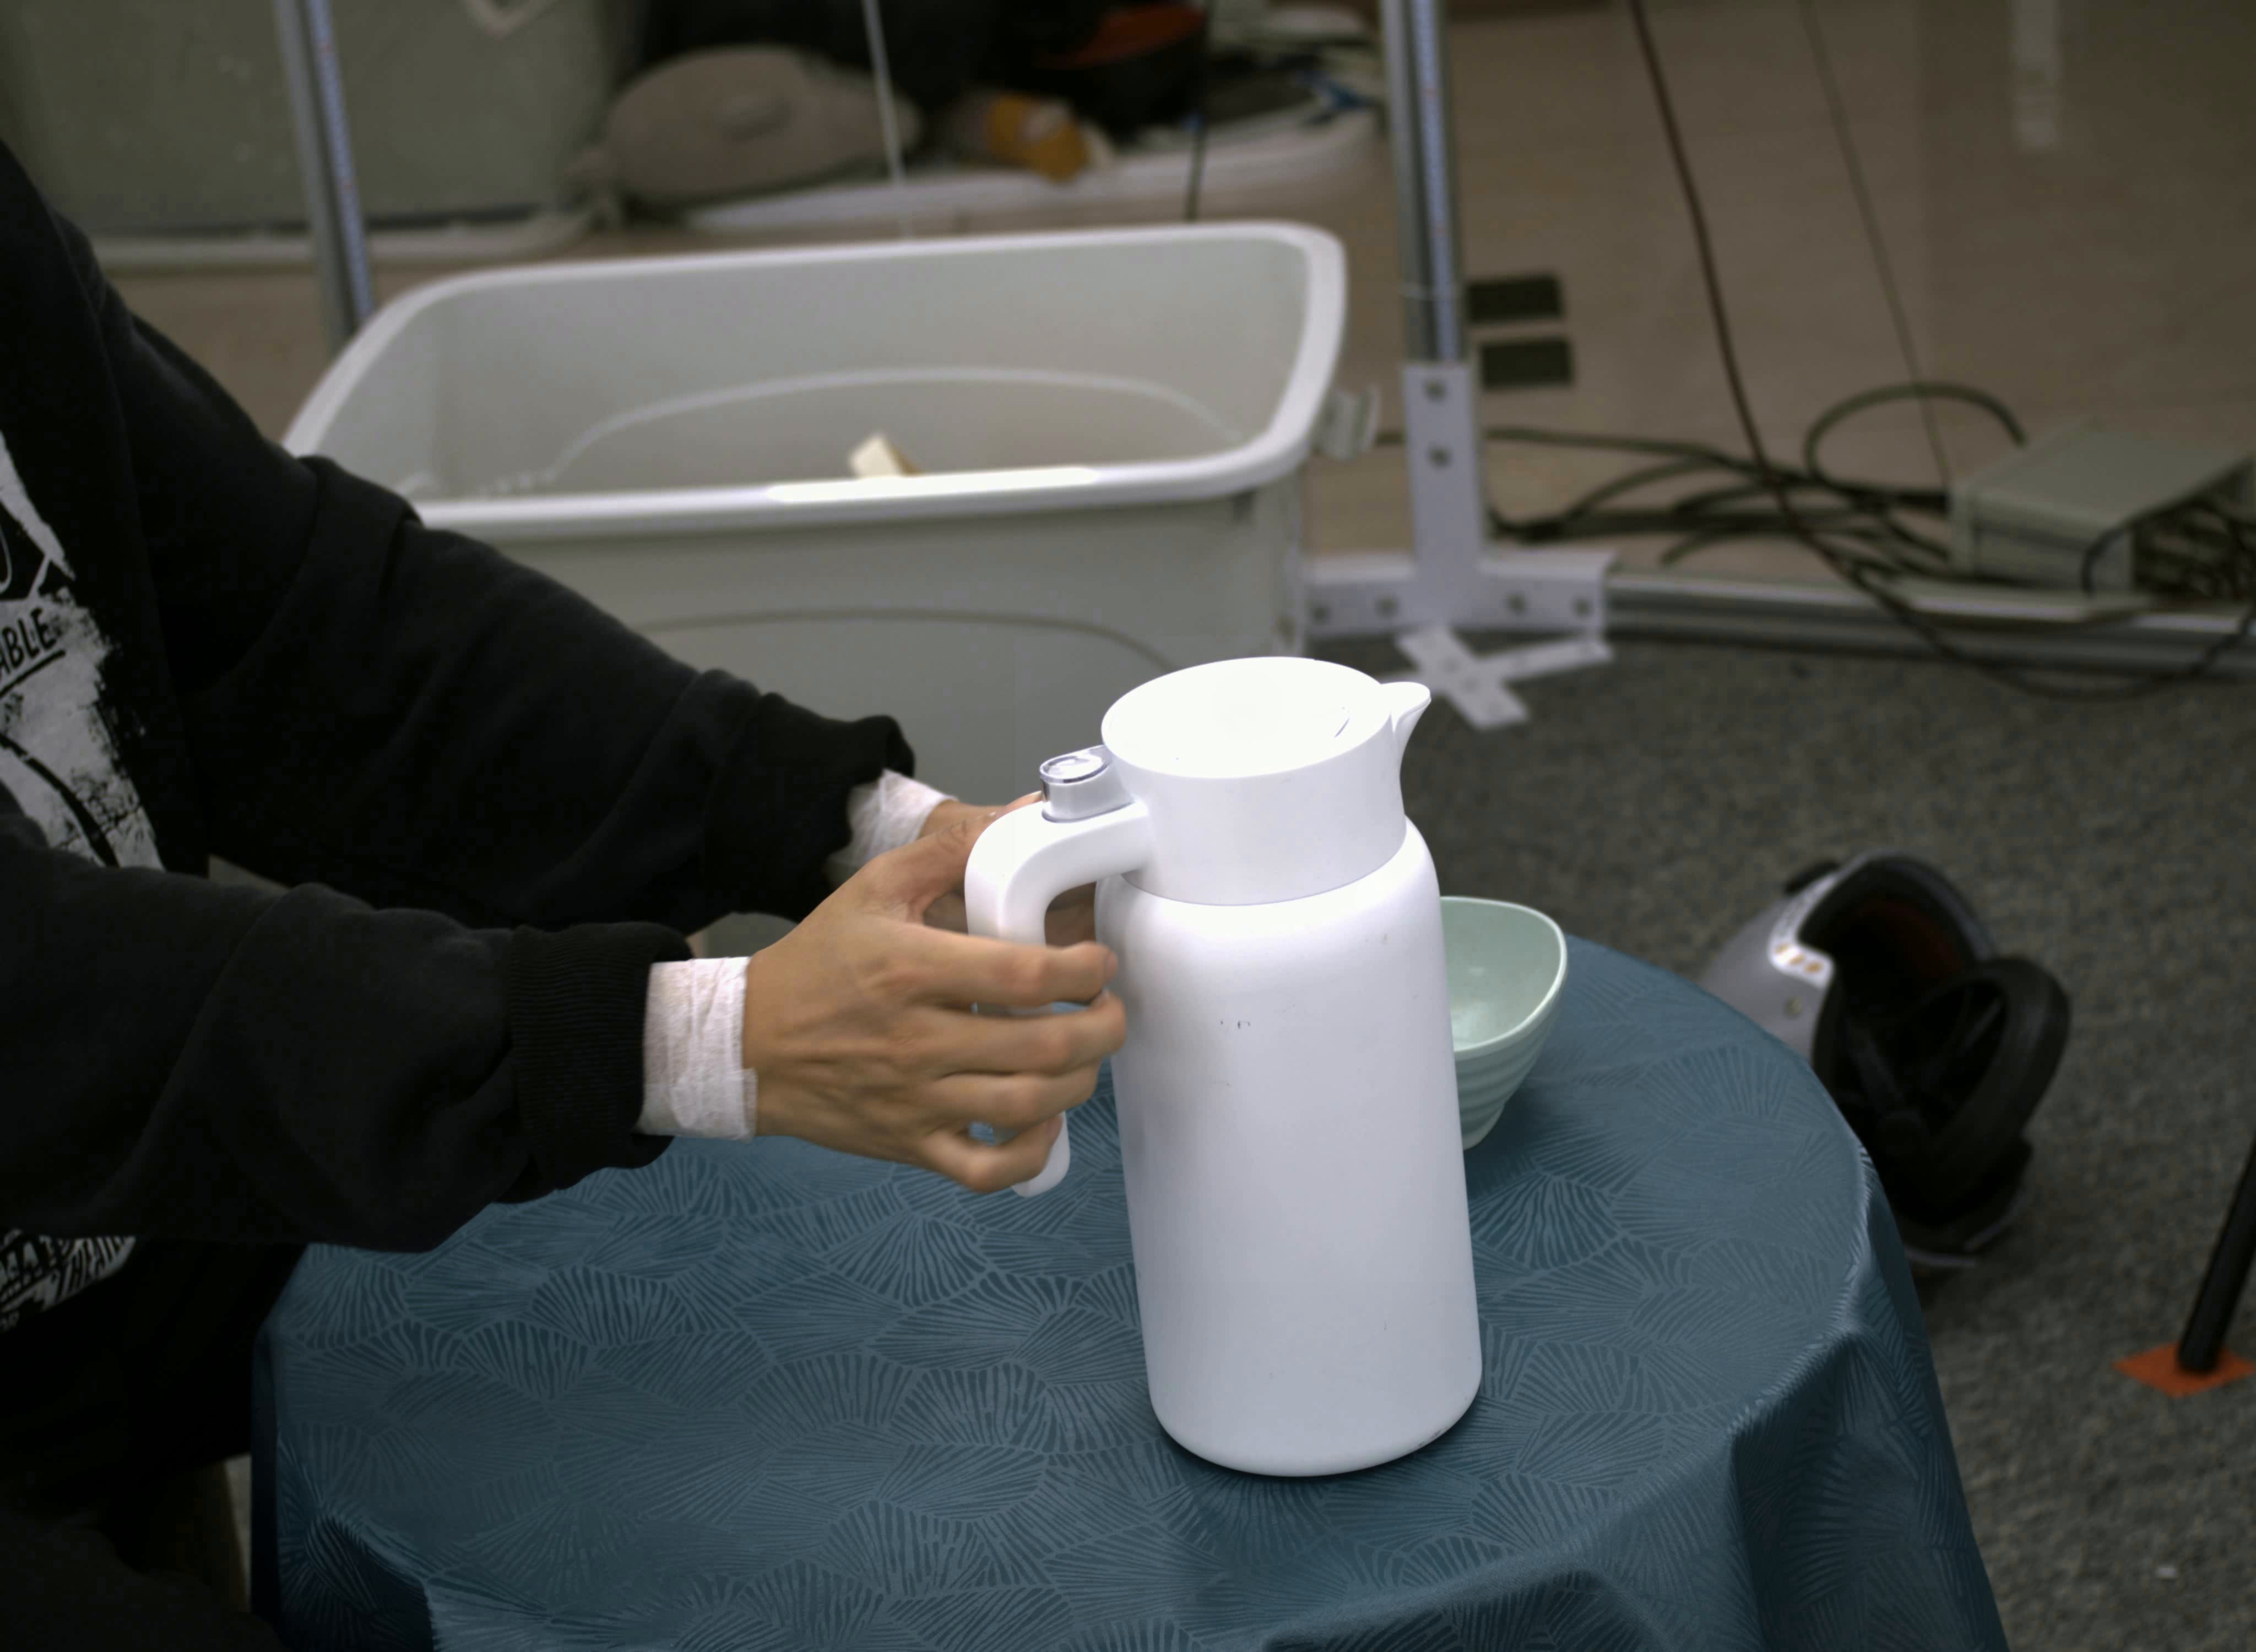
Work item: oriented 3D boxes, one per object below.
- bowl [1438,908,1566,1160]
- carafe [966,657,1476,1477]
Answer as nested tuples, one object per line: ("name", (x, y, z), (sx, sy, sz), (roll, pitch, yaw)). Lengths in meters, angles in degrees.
("bowl", (0.100, 0.086, 2.177), (0.151, 0.059, 0.149), (-6, 25, 3))
("carafe", (0.037, 0.087, 1.931), (0.172, 0.273, 0.122), (-17, 30, -22))
